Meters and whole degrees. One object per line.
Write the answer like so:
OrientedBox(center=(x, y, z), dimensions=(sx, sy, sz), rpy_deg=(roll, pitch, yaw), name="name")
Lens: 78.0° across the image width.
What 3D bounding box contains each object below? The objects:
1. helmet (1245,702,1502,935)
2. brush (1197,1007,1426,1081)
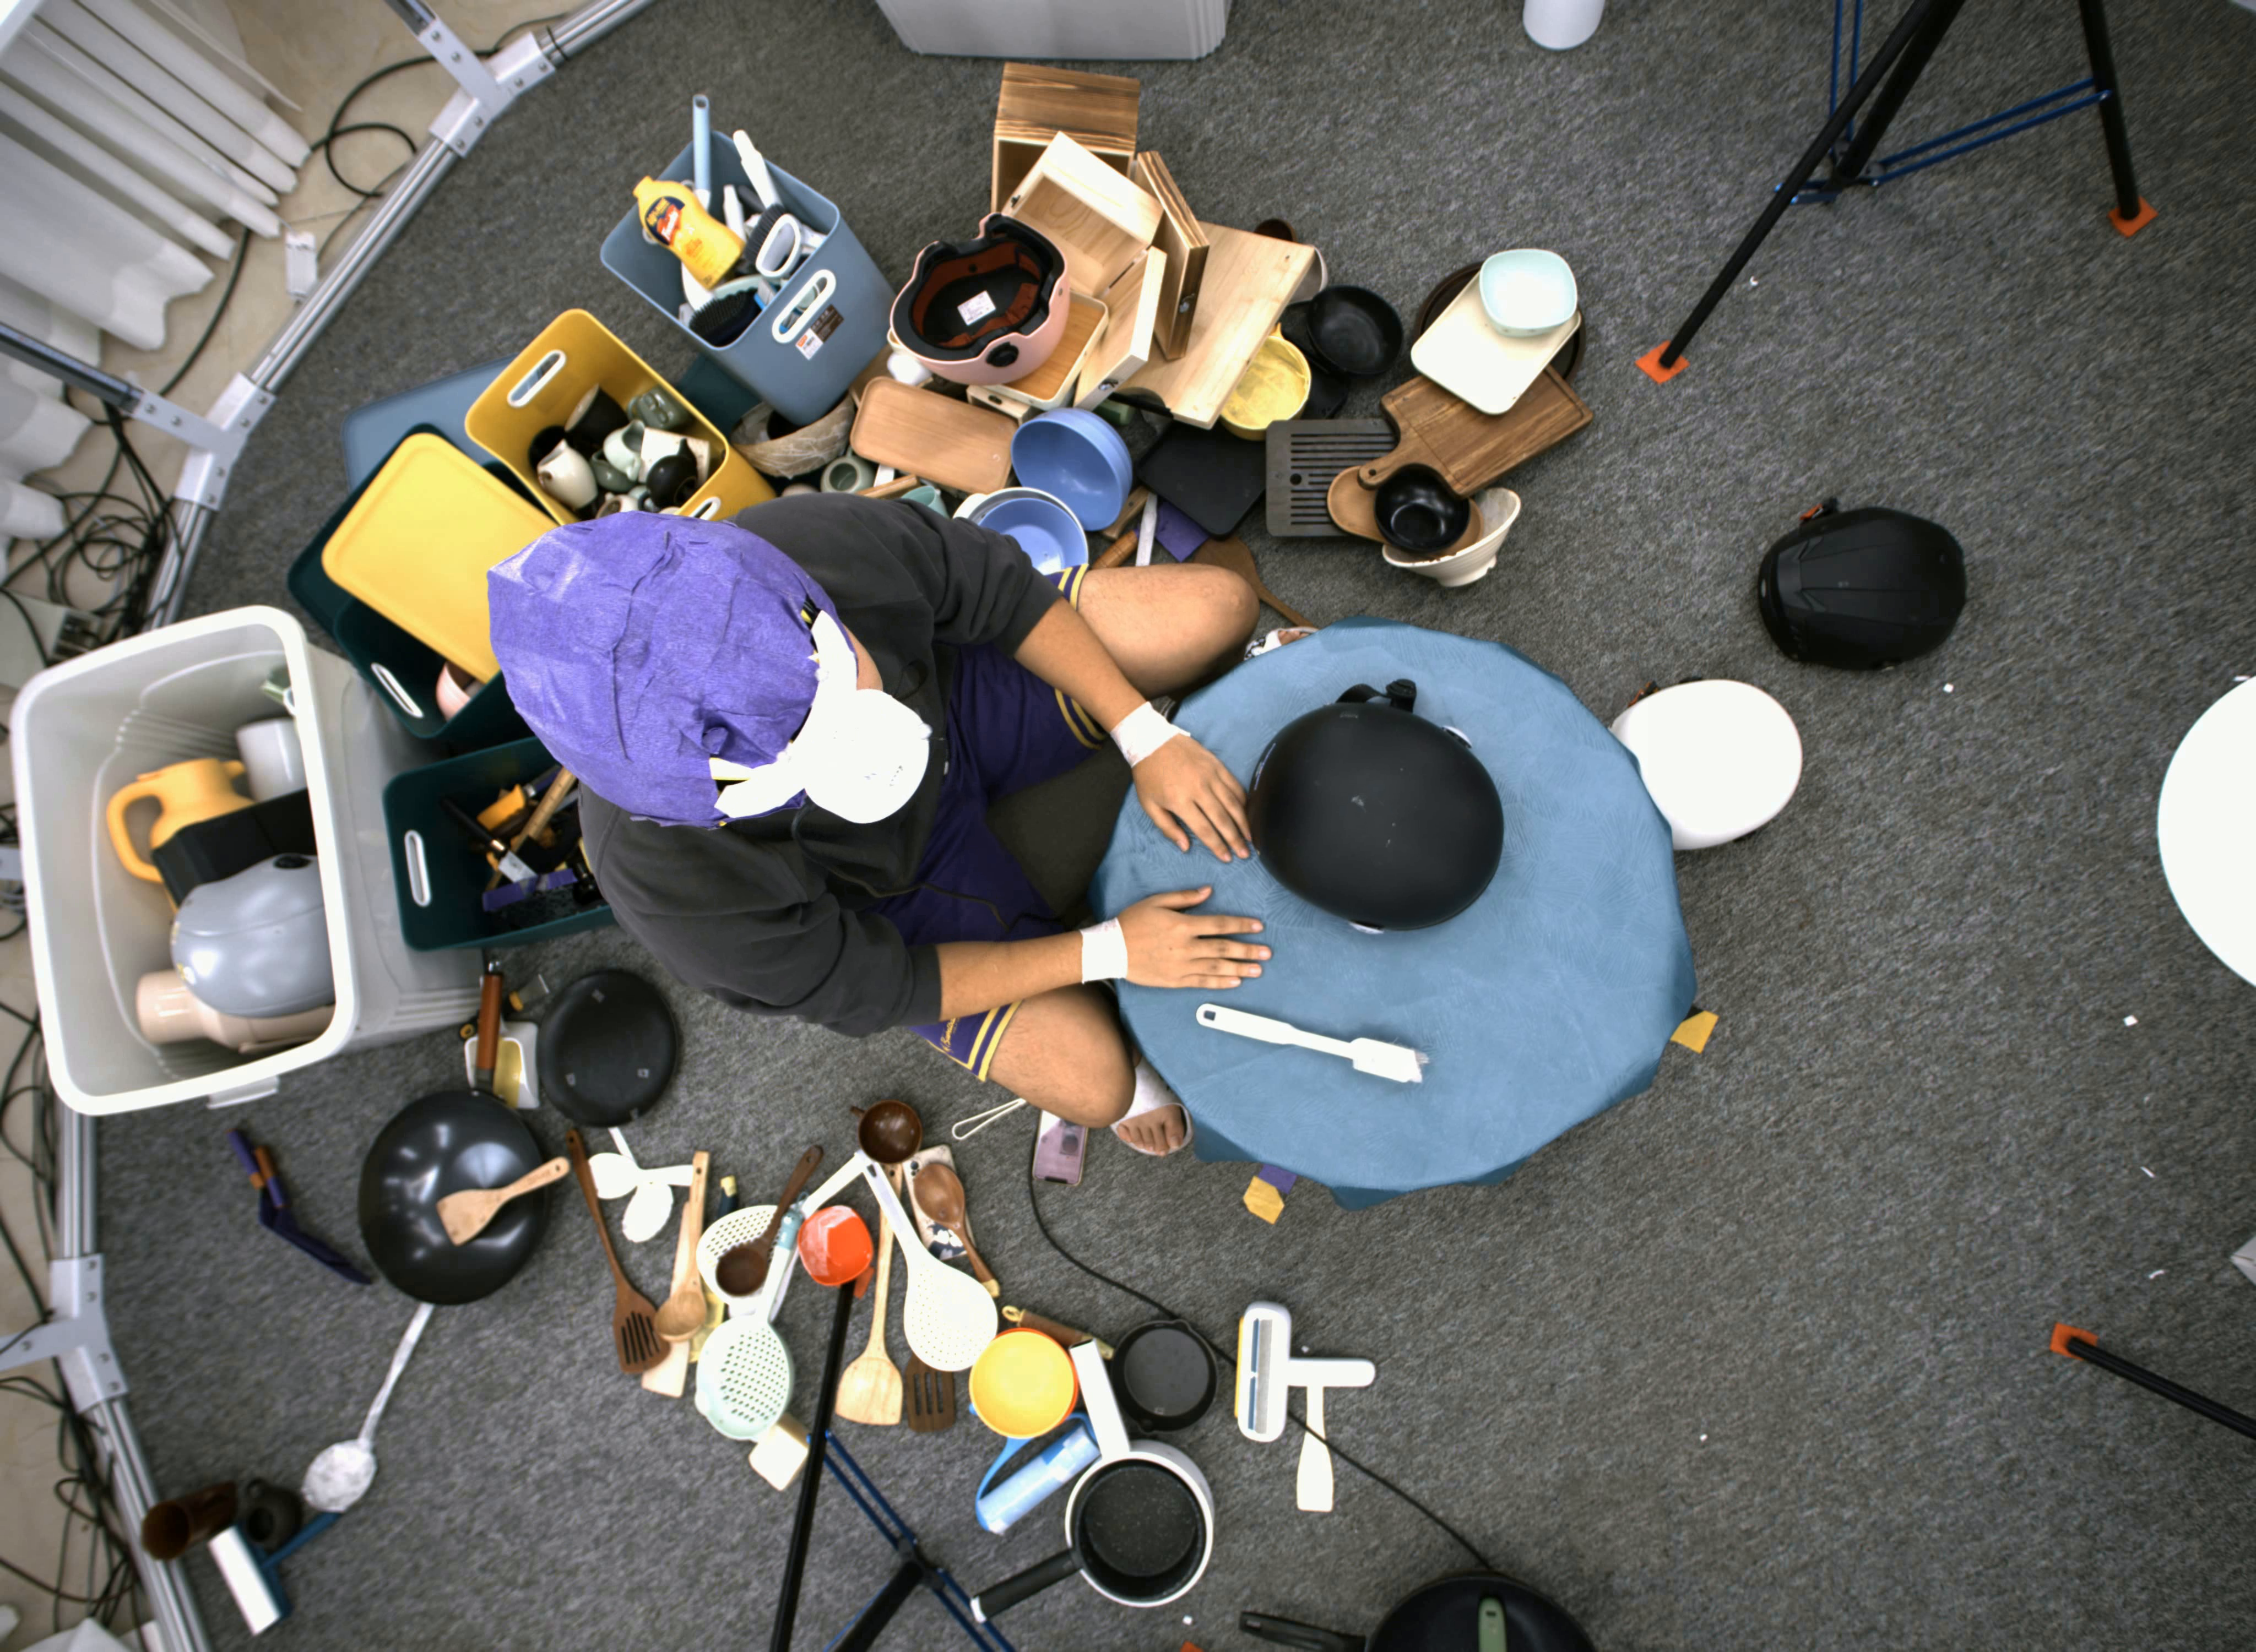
OrientedBox(center=(0.250, -0.013, 1.388), dimensions=(0.273, 0.166, 0.230), rpy_deg=(28, 93, 9), name="helmet")
OrientedBox(center=(0.190, 0.224, 1.454), dimensions=(0.244, 0.050, 0.034), rpy_deg=(10, 86, 24), name="brush")
